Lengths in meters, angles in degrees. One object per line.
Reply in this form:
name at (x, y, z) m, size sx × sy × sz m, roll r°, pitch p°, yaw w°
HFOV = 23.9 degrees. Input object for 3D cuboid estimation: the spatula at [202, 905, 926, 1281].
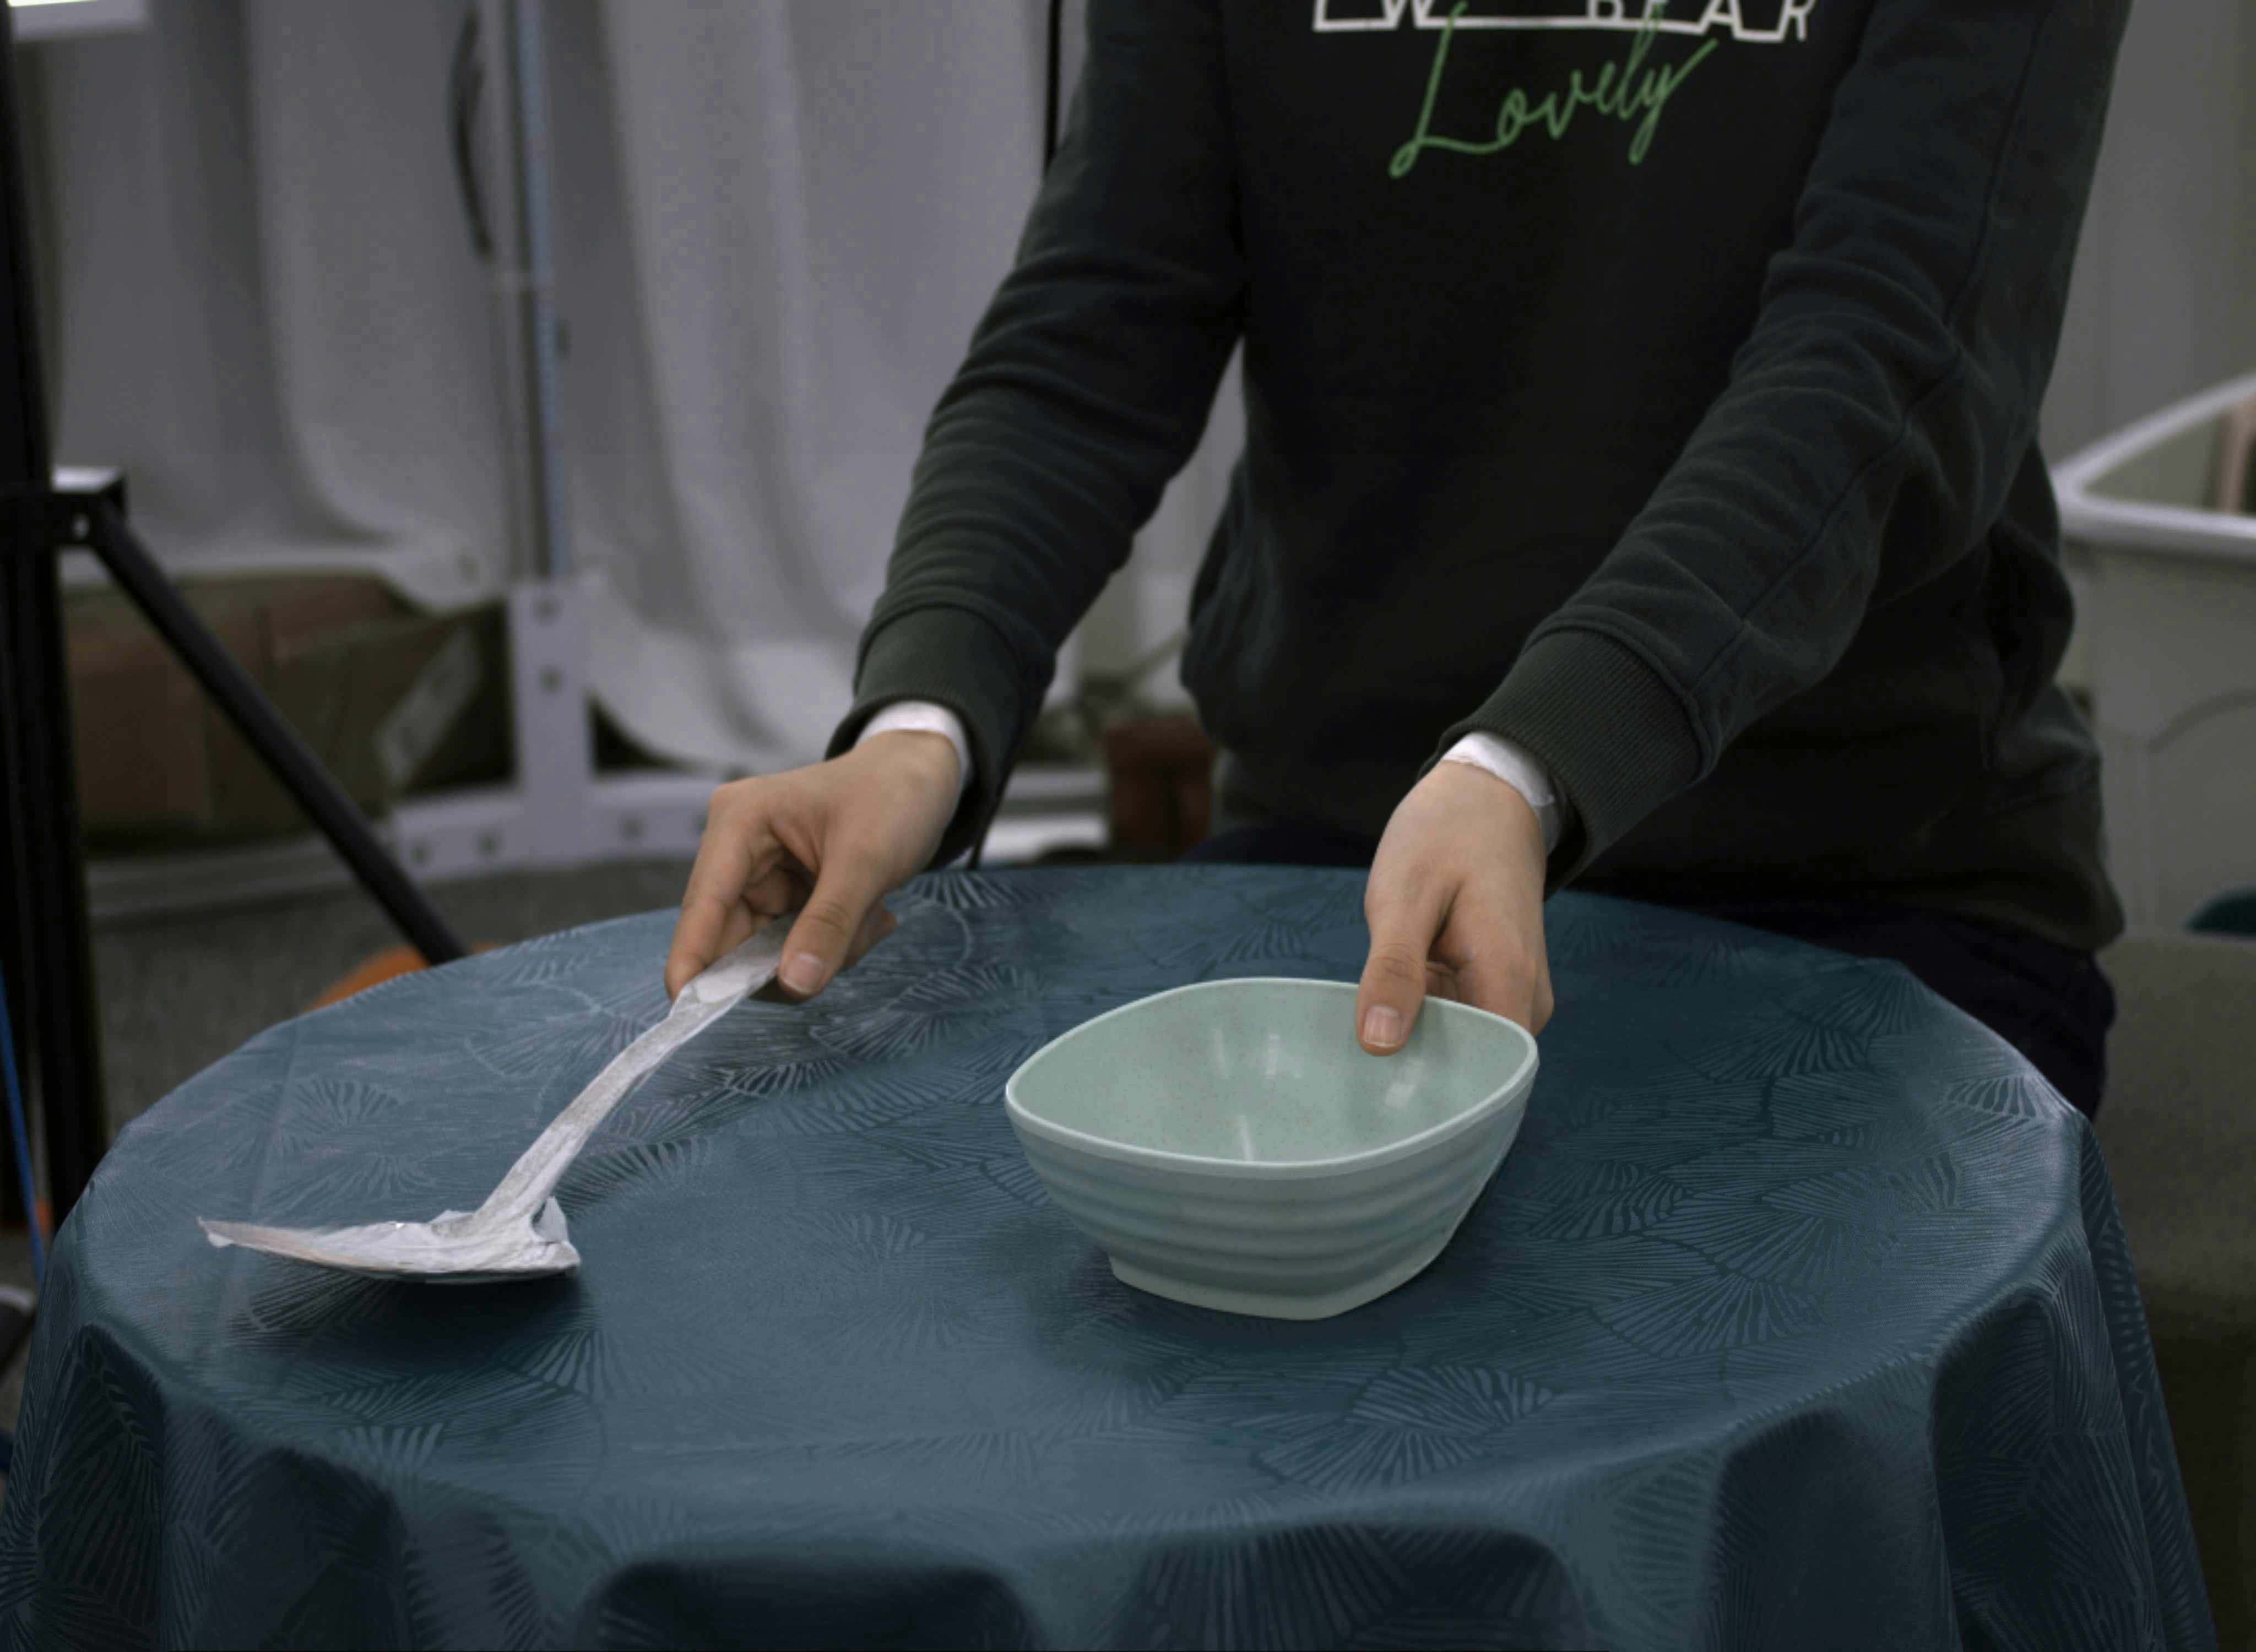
spatula at (-0.148, 0.072, 1.606) m, size 0.100 × 0.044 × 0.360 m, roll 3°, pitch 22°, yaw 23°

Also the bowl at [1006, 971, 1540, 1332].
bowl at (0.041, 0.095, 1.489) m, size 0.150 × 0.058 × 0.152 m, roll -2°, pitch 20°, yaw -1°
